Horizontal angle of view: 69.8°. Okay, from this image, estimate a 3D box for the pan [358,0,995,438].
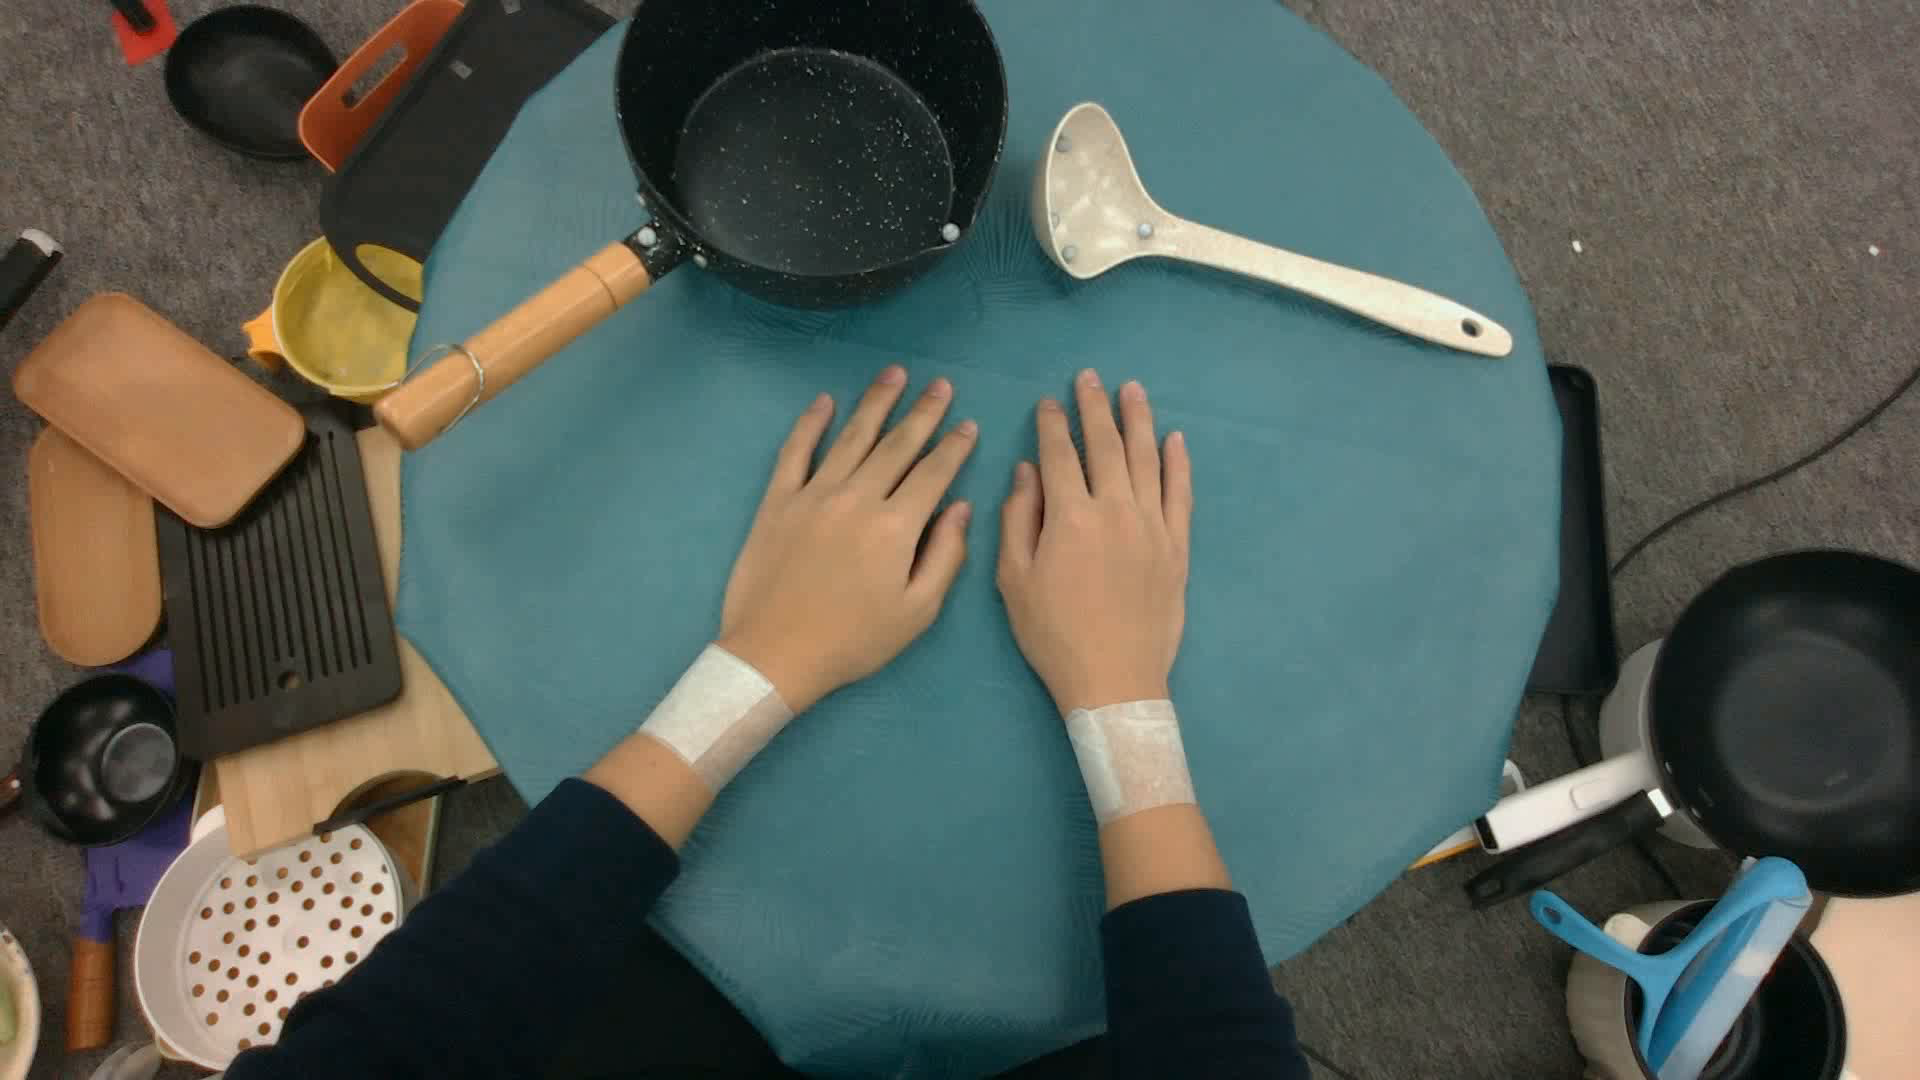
[{"bbox_3d":[-0.132,-0.154,0.658,0.207,0.108,0.344,43,75,3],"label":"pan"}]

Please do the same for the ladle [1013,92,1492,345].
[{"bbox_3d":[0.161,-0.157,0.713,0.275,0.069,0.089,15,72,-3],"label":"ladle"}]
